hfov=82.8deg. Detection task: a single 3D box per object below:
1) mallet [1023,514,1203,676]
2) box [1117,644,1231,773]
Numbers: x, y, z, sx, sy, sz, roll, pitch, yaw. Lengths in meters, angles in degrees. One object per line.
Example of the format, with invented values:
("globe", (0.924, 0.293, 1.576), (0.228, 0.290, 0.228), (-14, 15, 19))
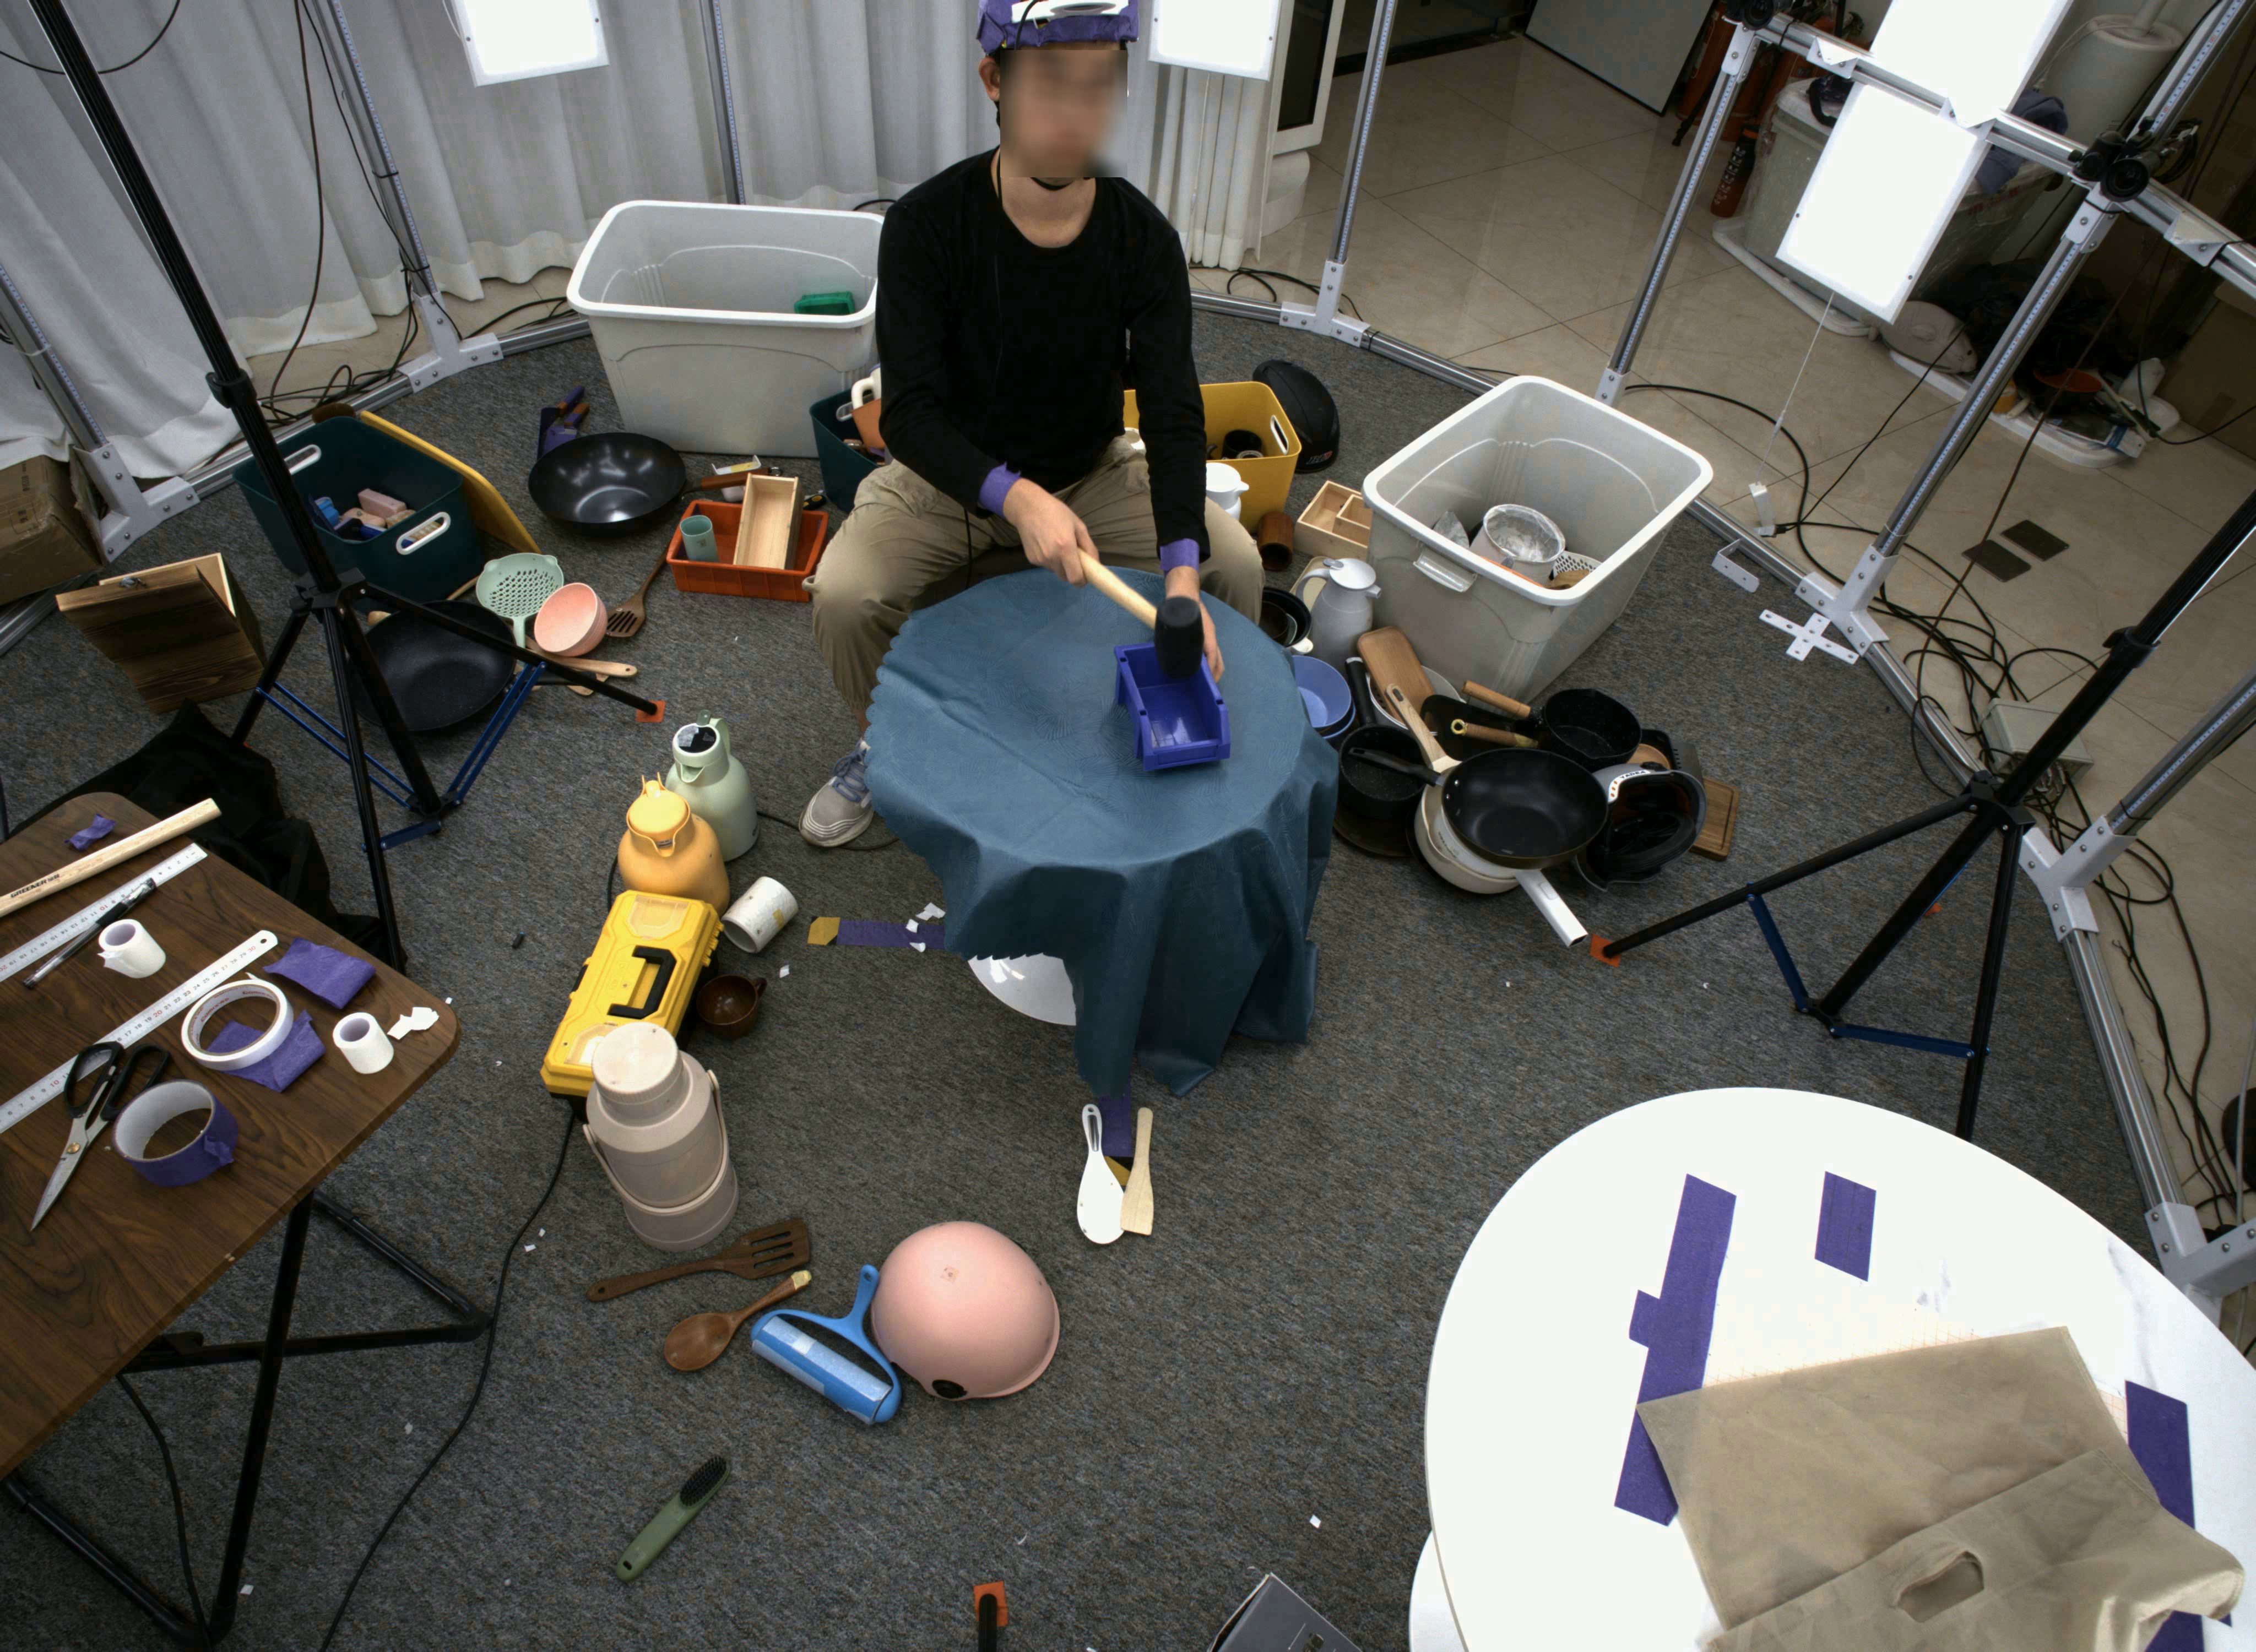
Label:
("mallet", (-0.020, -0.328, 1.707), (0.064, 0.099, 0.345), (-31, 55, -21))
("box", (0.063, -0.158, 1.758), (0.124, 0.080, 0.184), (-8, 47, -10))
